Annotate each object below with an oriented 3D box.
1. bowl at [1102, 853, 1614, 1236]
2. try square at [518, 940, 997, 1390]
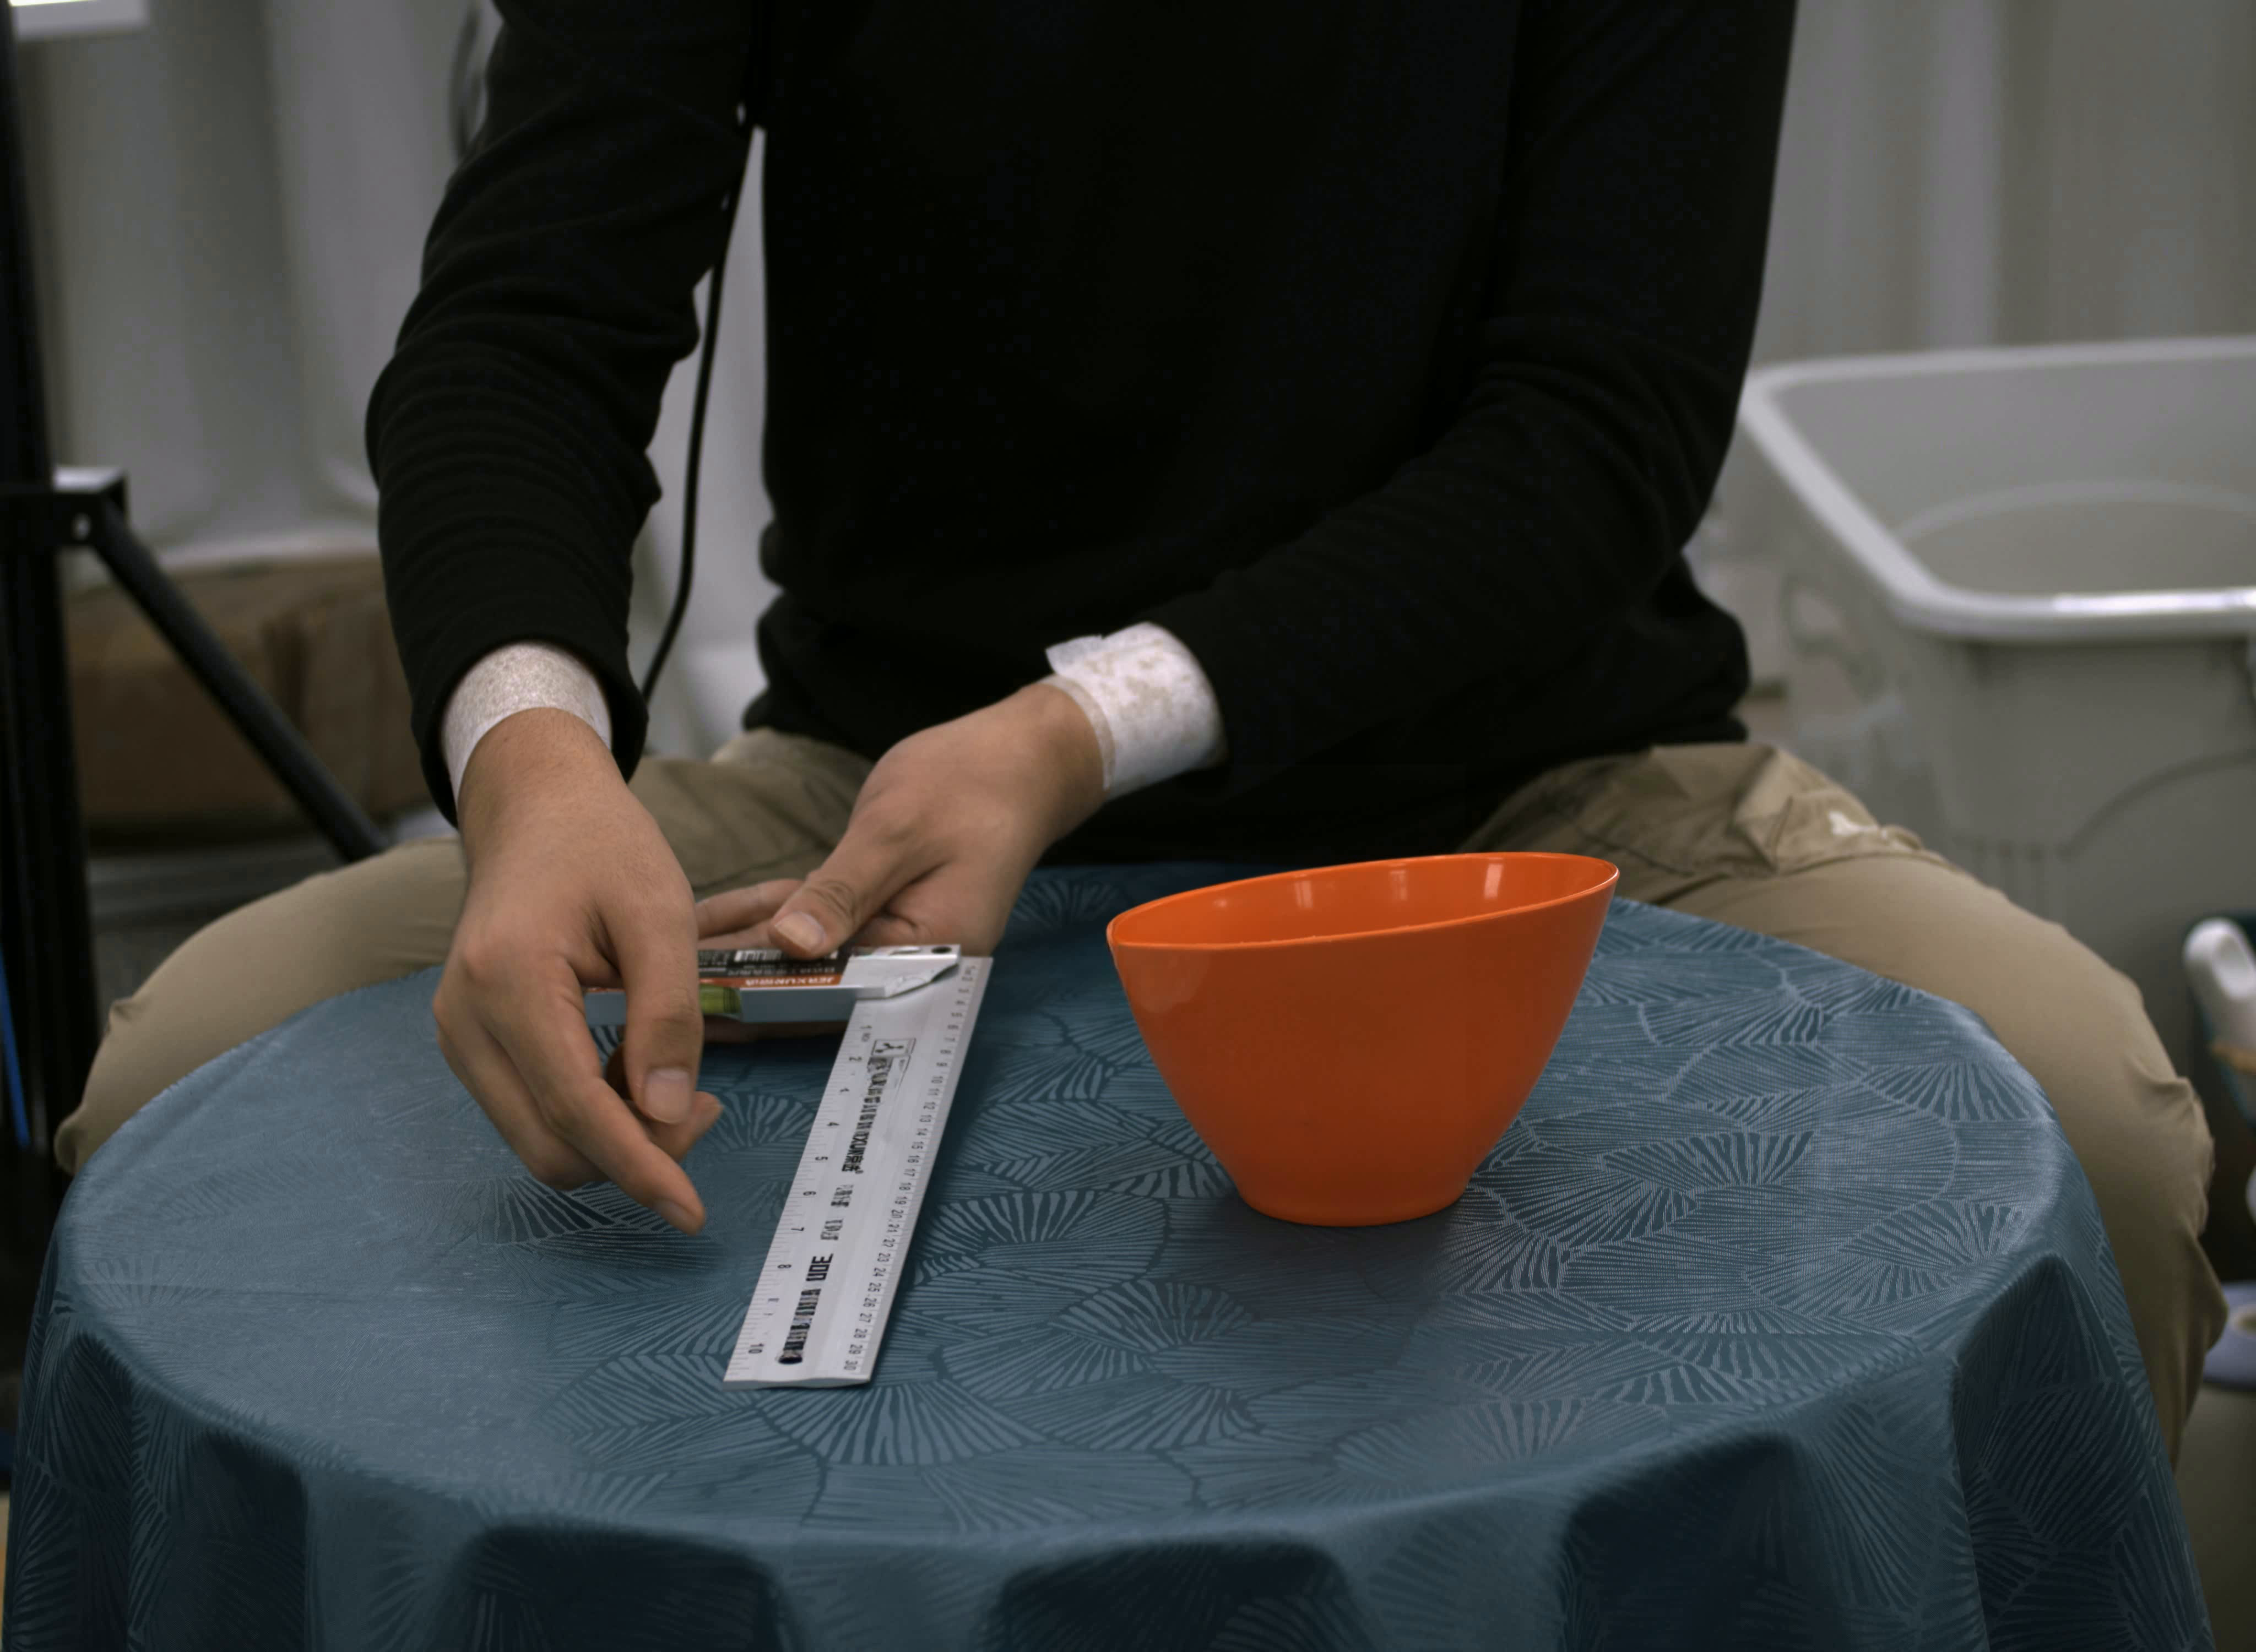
[{"bbox_3d":[0.067,0.062,1.527,0.147,0.104,0.149,-4,15,0],"label":"bowl"},{"bbox_3d":[-0.129,0.098,1.574,0.152,0.016,0.313,-3,20,7],"label":"try square"}]
